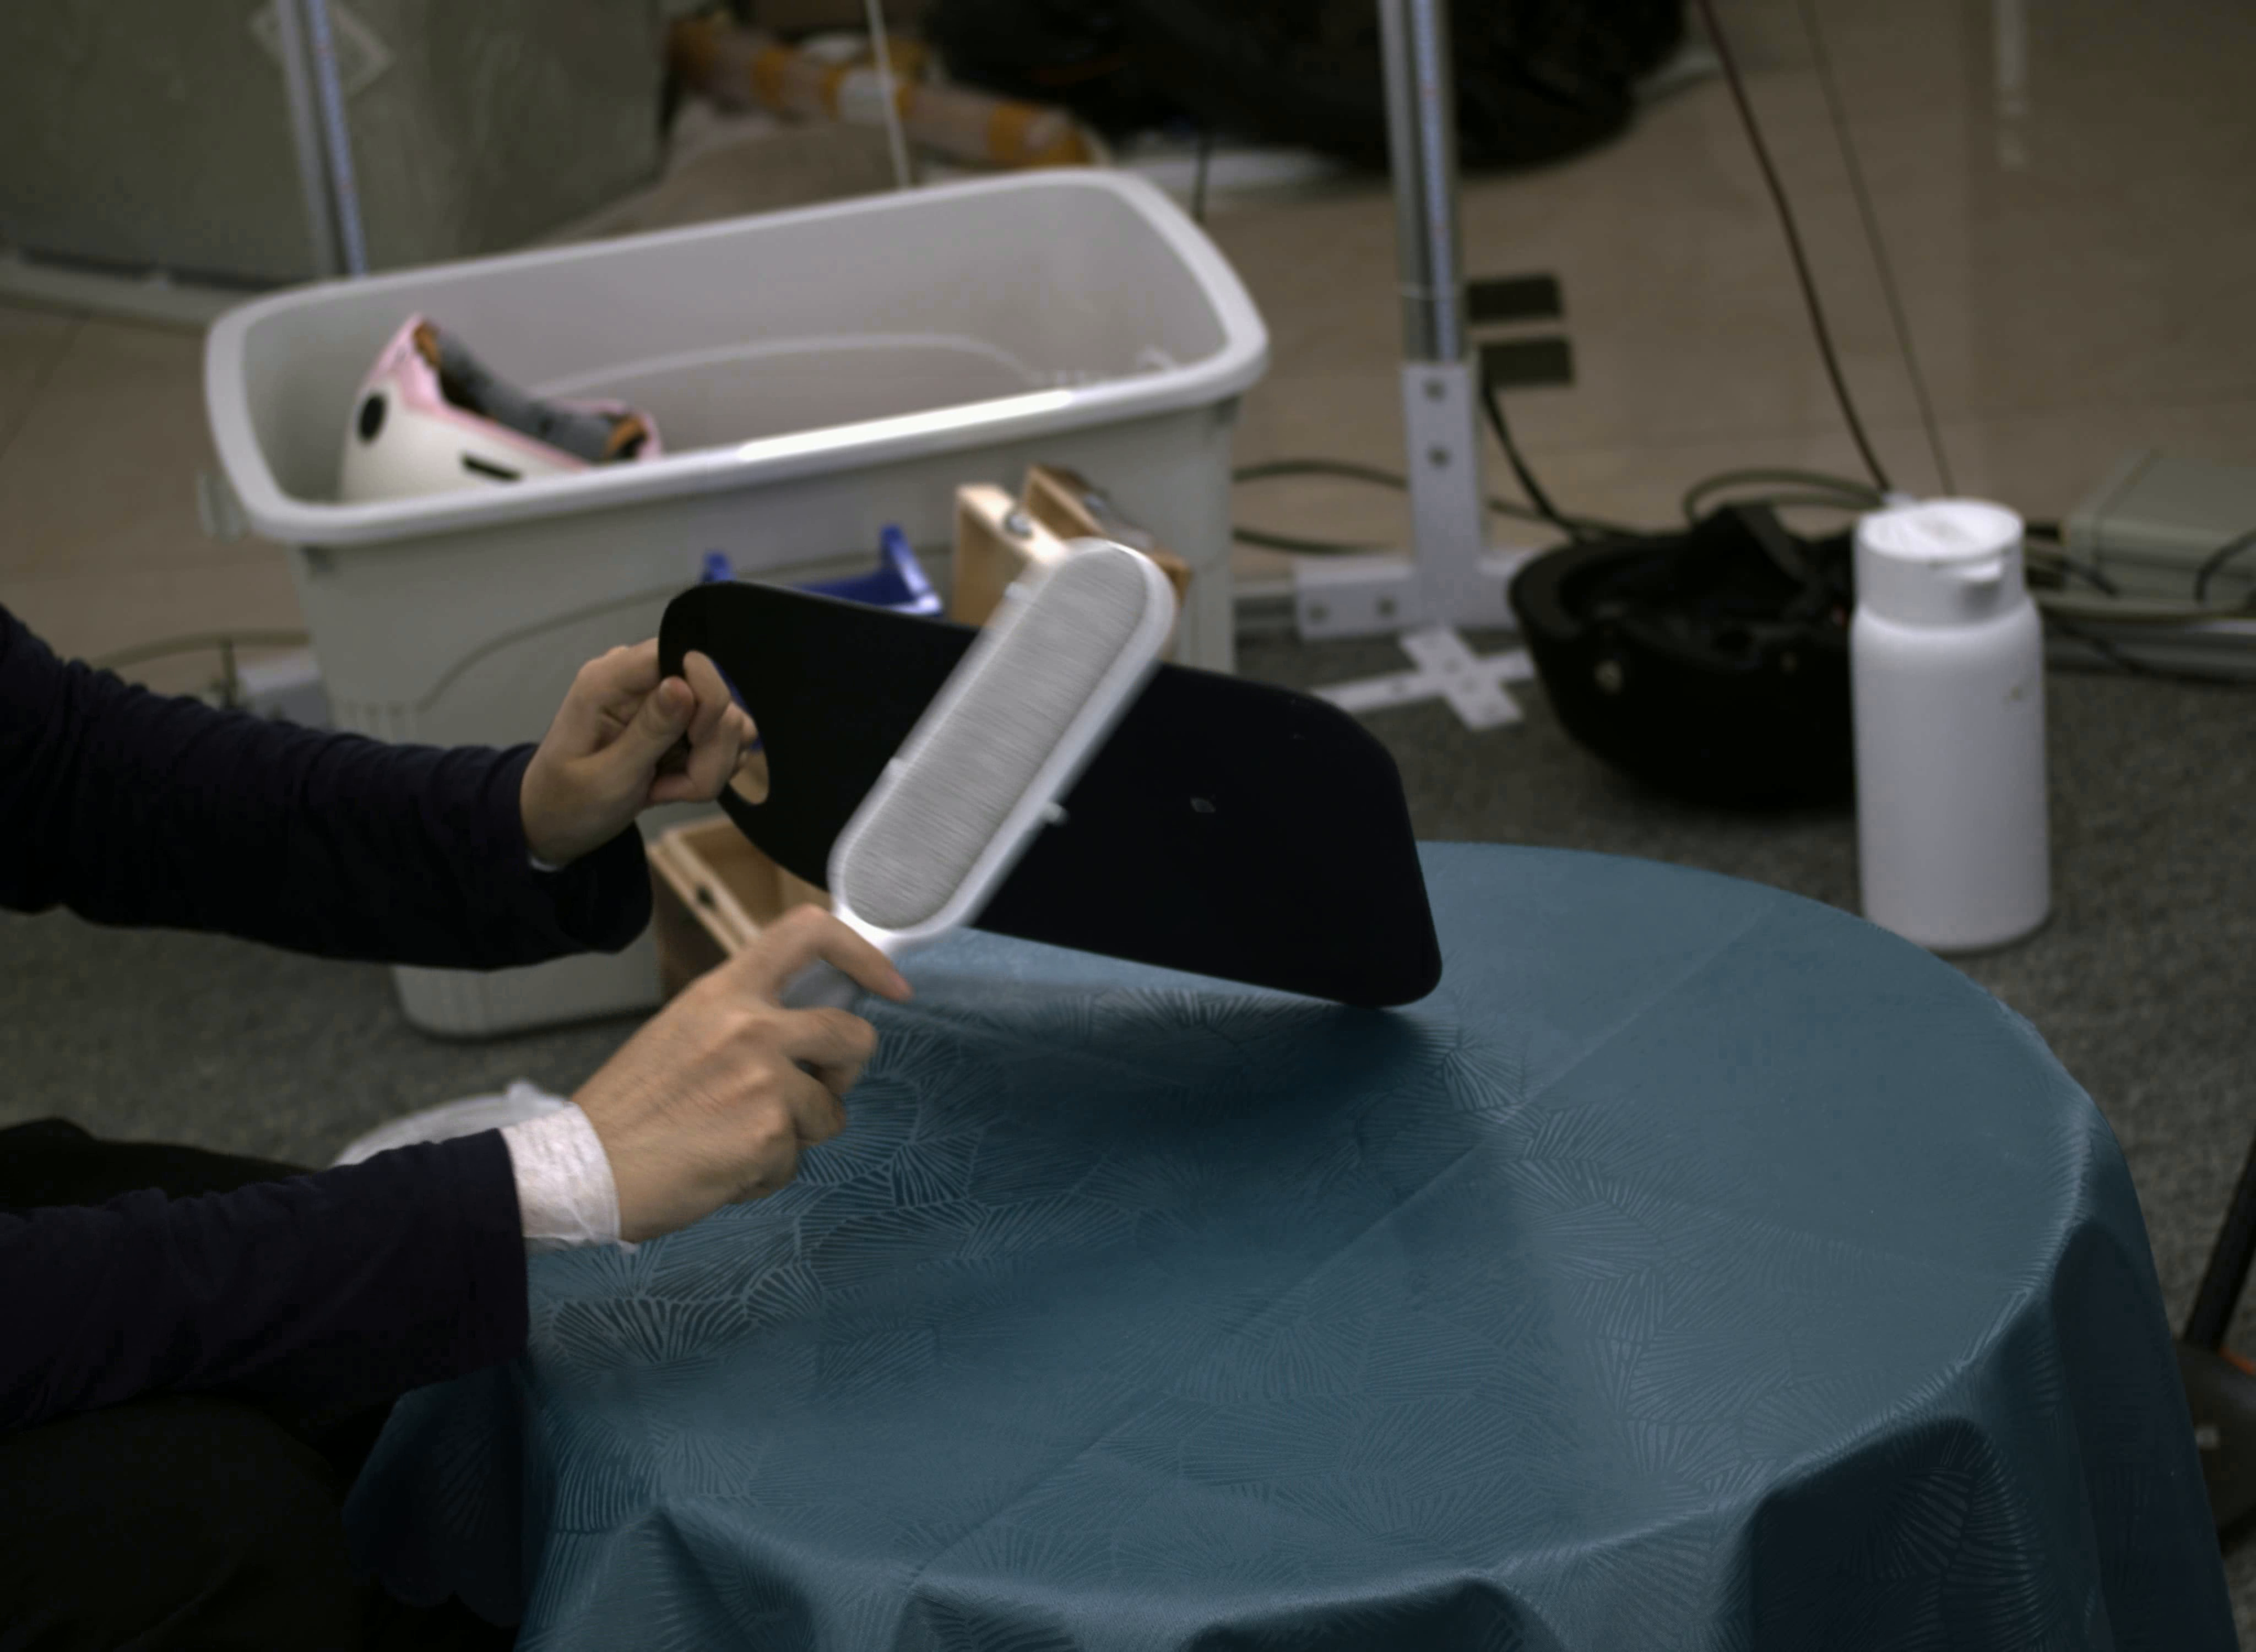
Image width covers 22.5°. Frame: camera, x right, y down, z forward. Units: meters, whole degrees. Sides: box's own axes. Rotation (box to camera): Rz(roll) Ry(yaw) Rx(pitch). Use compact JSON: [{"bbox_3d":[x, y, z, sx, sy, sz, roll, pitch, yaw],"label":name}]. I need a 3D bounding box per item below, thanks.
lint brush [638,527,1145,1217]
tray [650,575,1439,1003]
[{"bbox_3d":[-0.091,0.015,2.100,0.059,0.021,0.307,30,77,16],"label":"lint brush"},{"bbox_3d":[-0.038,-0.017,2.230,0.324,0.215,0.009,11,56,20],"label":"tray"}]
